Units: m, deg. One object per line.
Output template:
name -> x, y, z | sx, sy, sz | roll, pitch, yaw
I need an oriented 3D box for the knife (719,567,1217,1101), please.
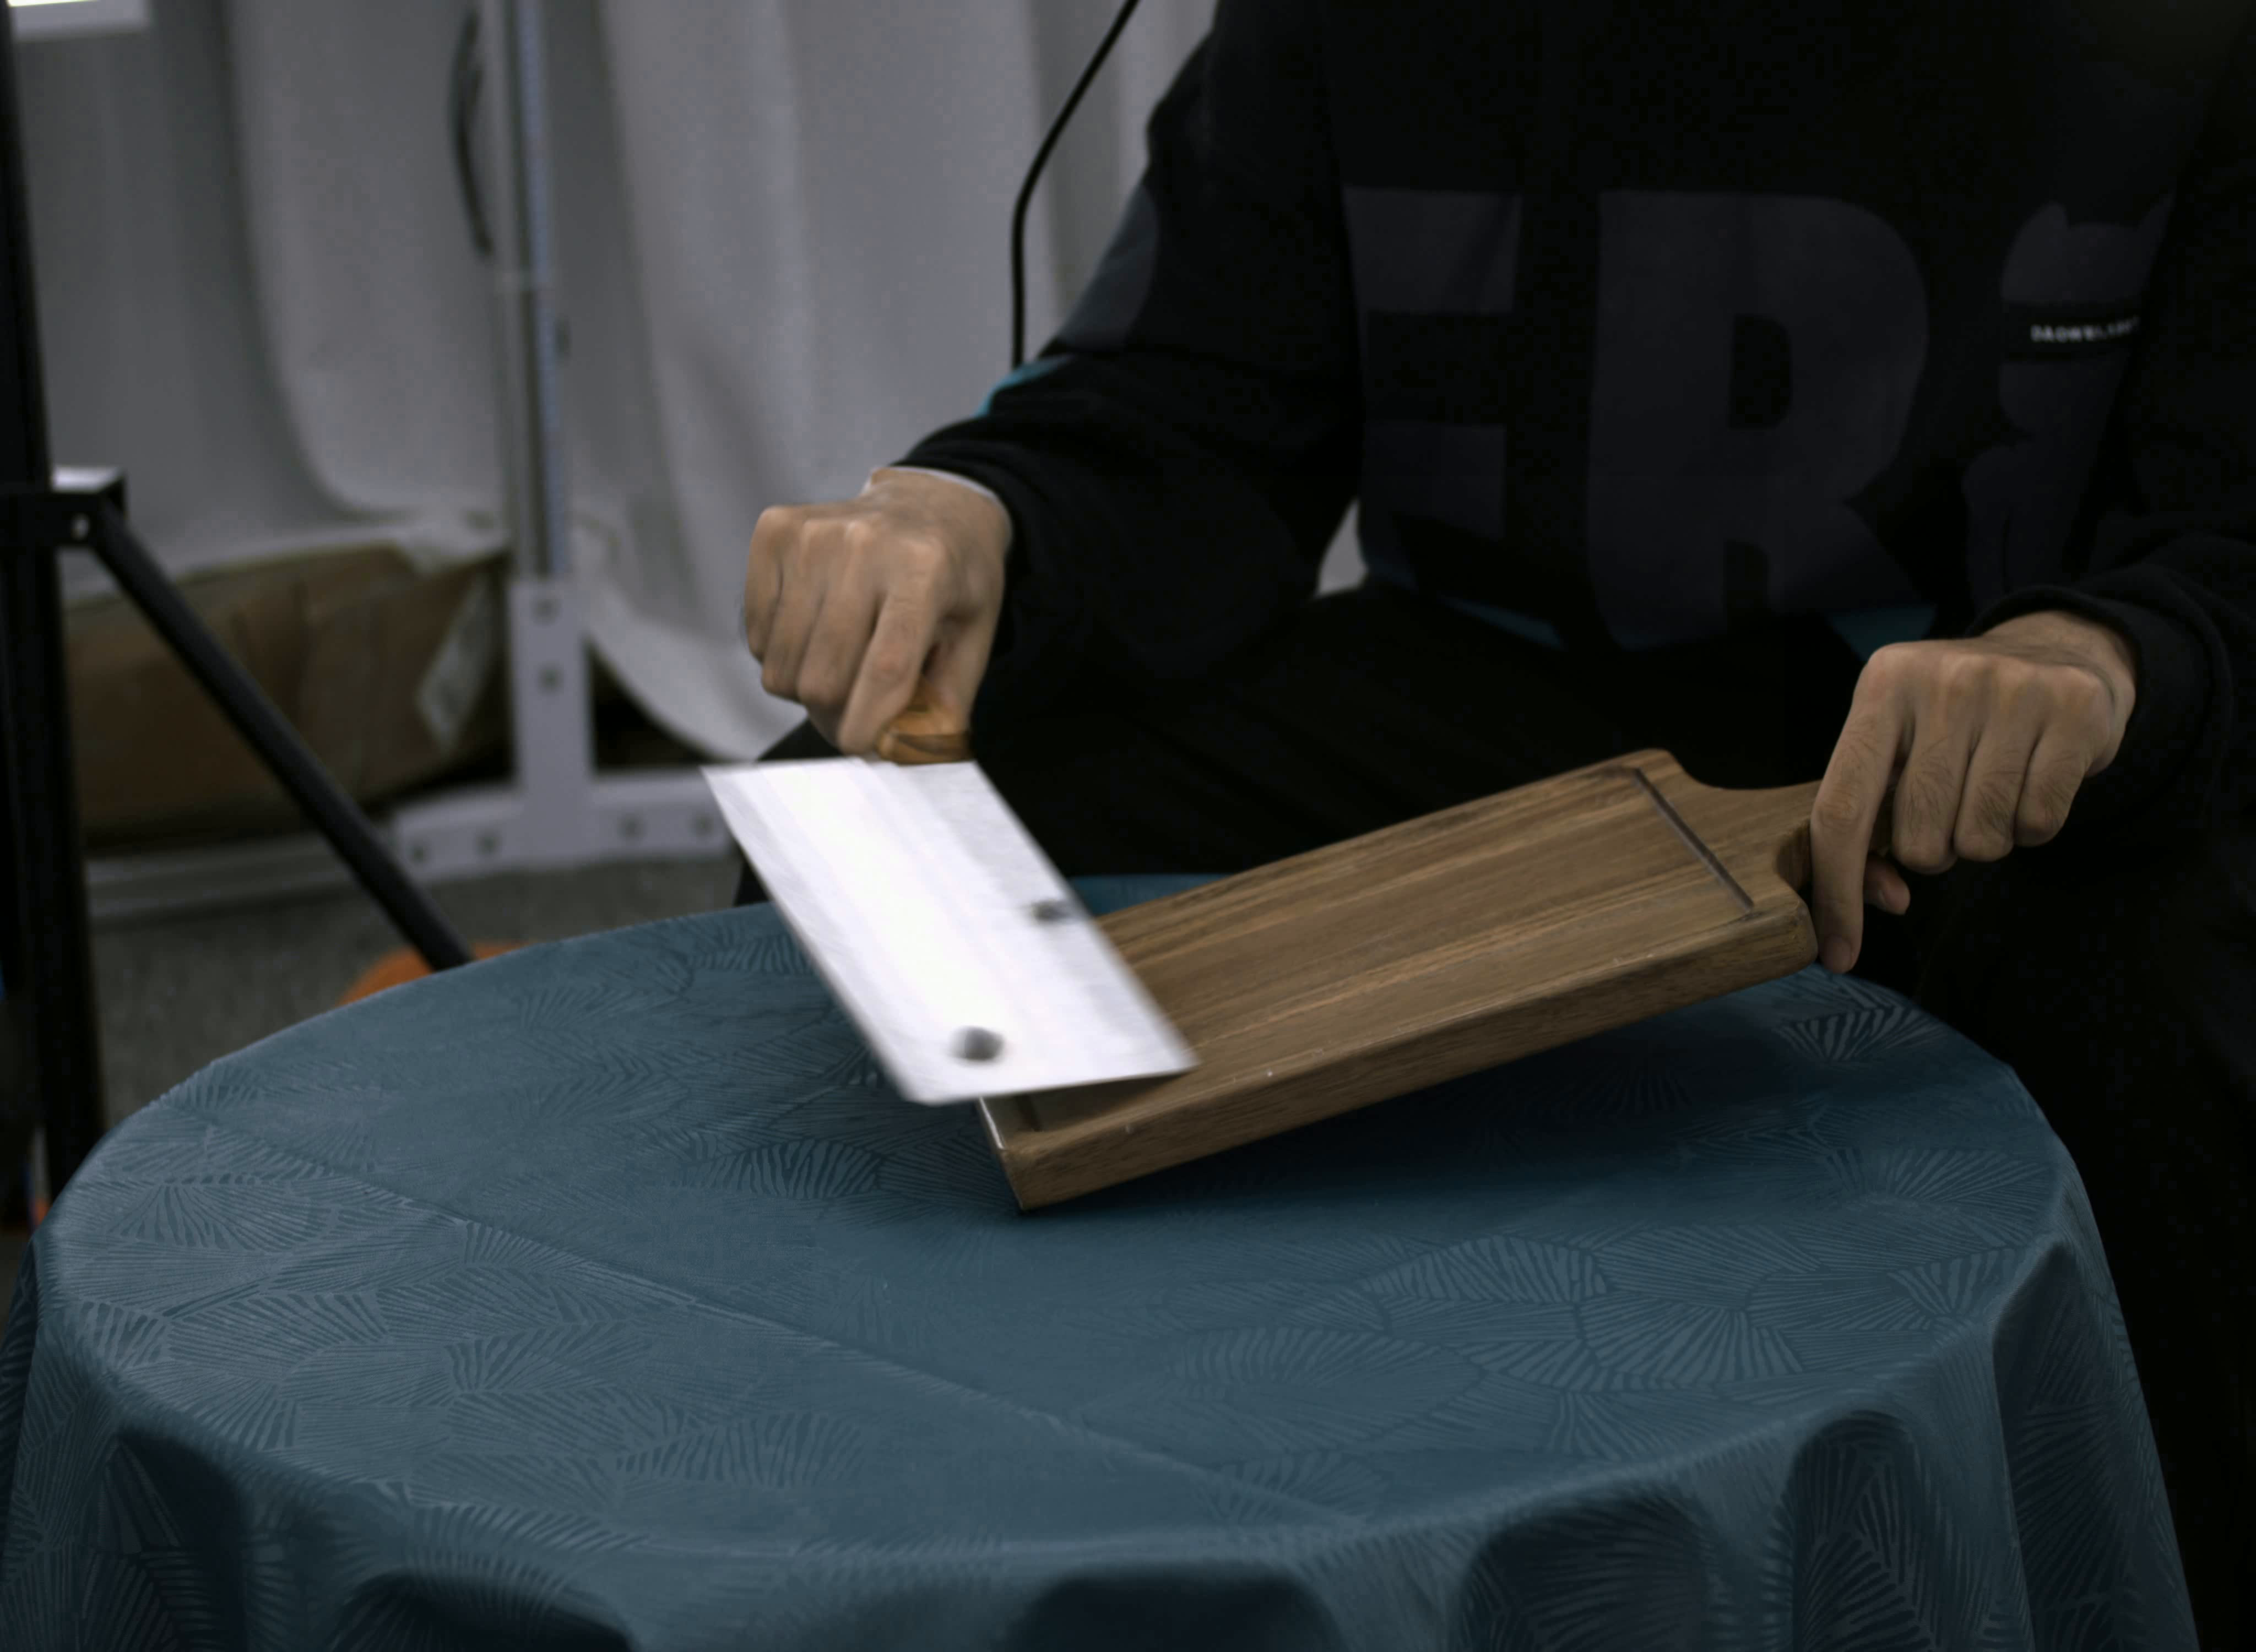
knife -> -0.074, 0.000, 1.675 | 0.091, 0.021, 0.312 | -10, 34, -22

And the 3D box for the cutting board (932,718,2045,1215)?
cutting board -> 0.116, 0.030, 1.632 | 0.350, 0.023, 0.203 | -17, 17, -2
